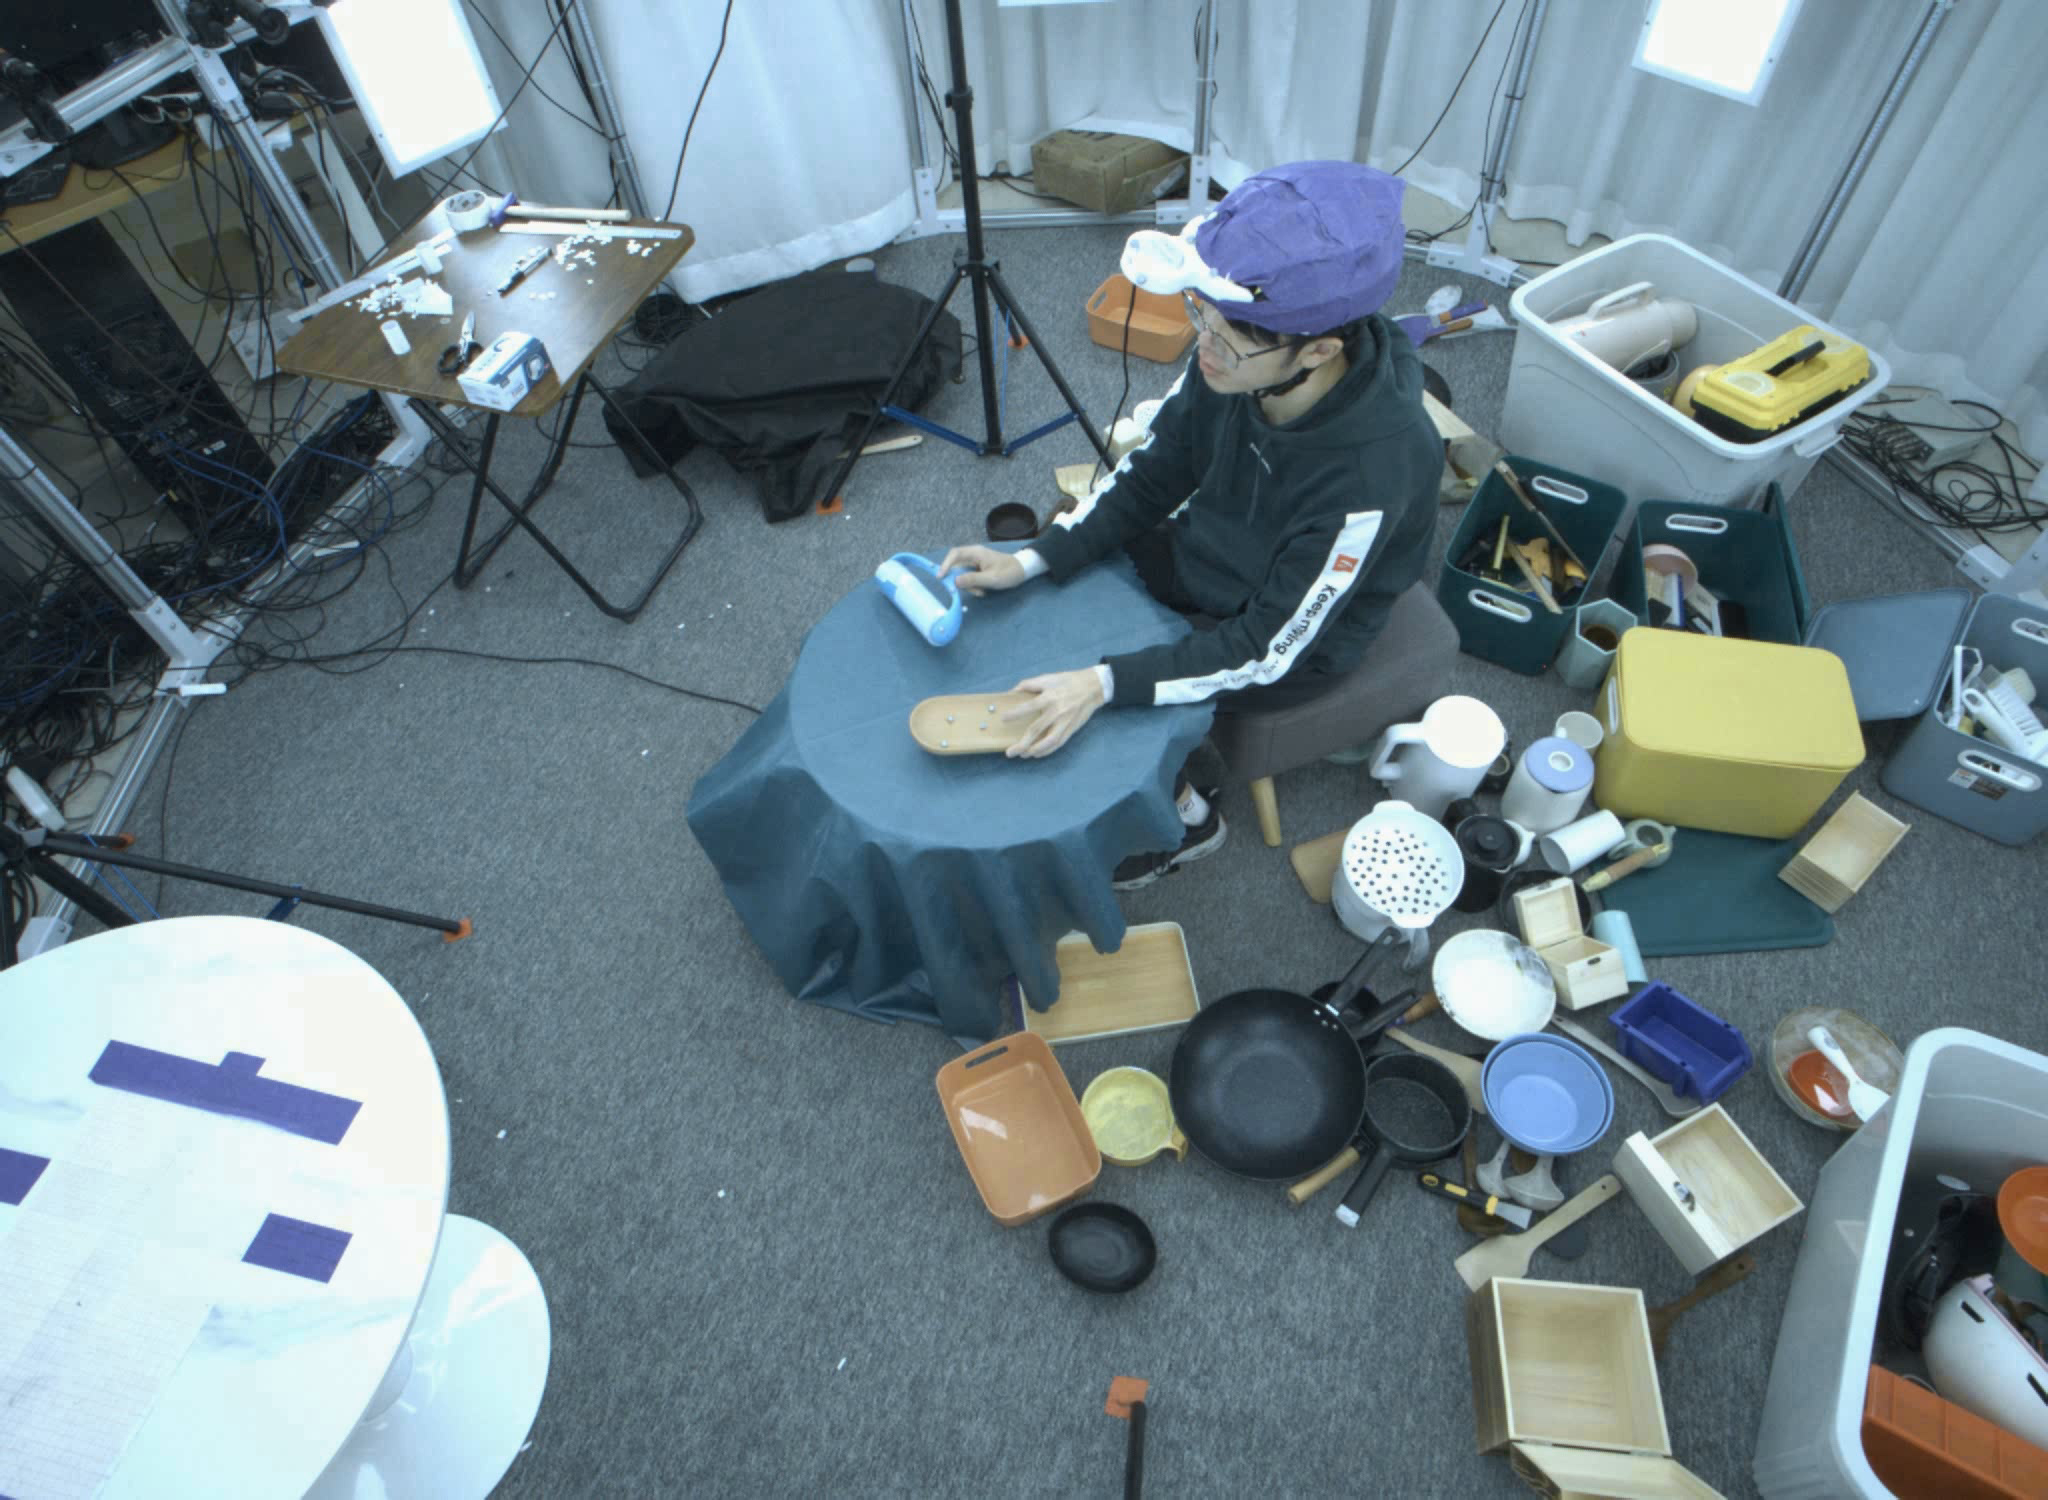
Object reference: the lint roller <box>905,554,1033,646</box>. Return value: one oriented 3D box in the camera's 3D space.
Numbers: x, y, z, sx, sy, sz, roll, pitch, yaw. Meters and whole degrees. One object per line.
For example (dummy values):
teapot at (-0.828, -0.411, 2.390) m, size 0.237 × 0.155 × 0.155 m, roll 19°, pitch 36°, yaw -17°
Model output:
lint roller at (-0.070, -0.250, 1.908) m, size 0.182 × 0.069 × 0.223 m, roll -23°, pitch 42°, yaw -22°

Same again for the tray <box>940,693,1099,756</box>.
tray at (-0.006, -0.037, 1.767) m, size 0.233 × 0.020 × 0.100 m, roll -2°, pitch 57°, yaw -13°
